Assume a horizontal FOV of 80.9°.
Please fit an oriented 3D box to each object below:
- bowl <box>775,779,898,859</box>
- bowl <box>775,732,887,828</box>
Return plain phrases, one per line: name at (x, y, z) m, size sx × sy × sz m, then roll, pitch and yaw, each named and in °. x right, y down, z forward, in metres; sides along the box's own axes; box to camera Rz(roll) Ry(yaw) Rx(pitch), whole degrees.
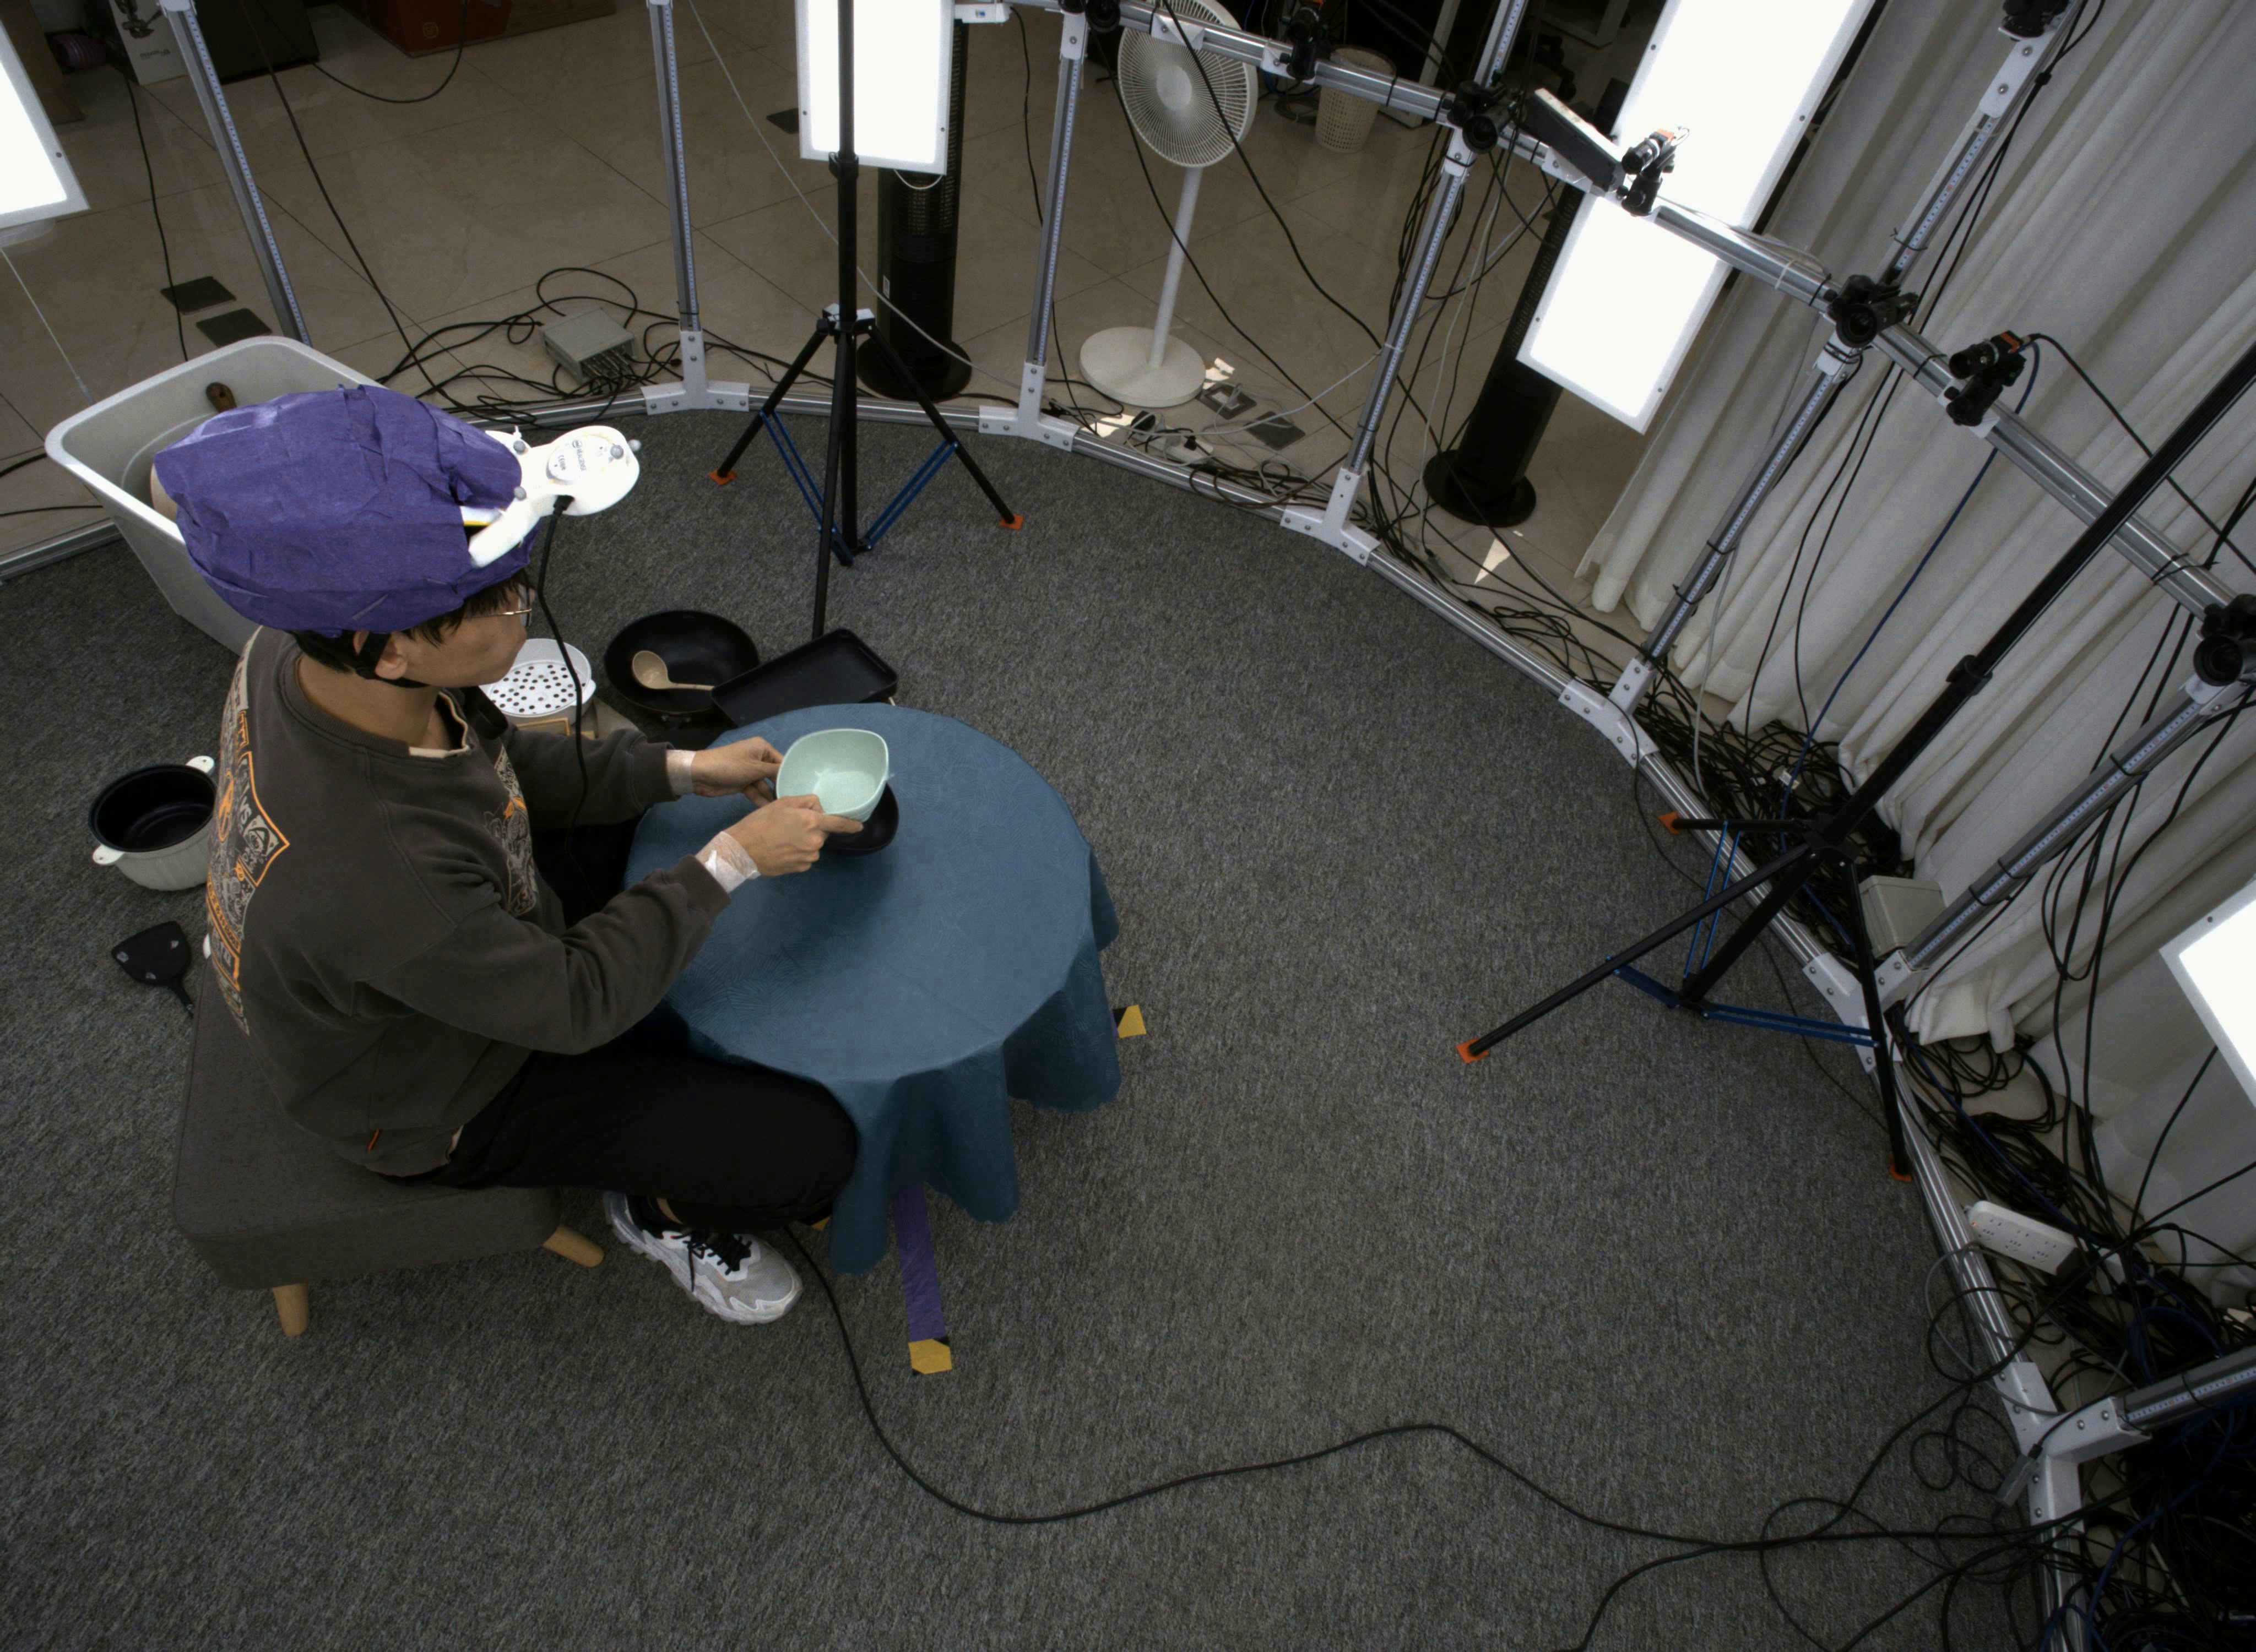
bowl at (-0.378, -0.015, 1.694) m, size 0.168 × 0.068 × 0.136 m, roll 29°, pitch 55°, yaw 4°
bowl at (-0.362, -0.049, 1.618) m, size 0.149 × 0.061 × 0.148 m, roll -3°, pitch 49°, yaw 5°
